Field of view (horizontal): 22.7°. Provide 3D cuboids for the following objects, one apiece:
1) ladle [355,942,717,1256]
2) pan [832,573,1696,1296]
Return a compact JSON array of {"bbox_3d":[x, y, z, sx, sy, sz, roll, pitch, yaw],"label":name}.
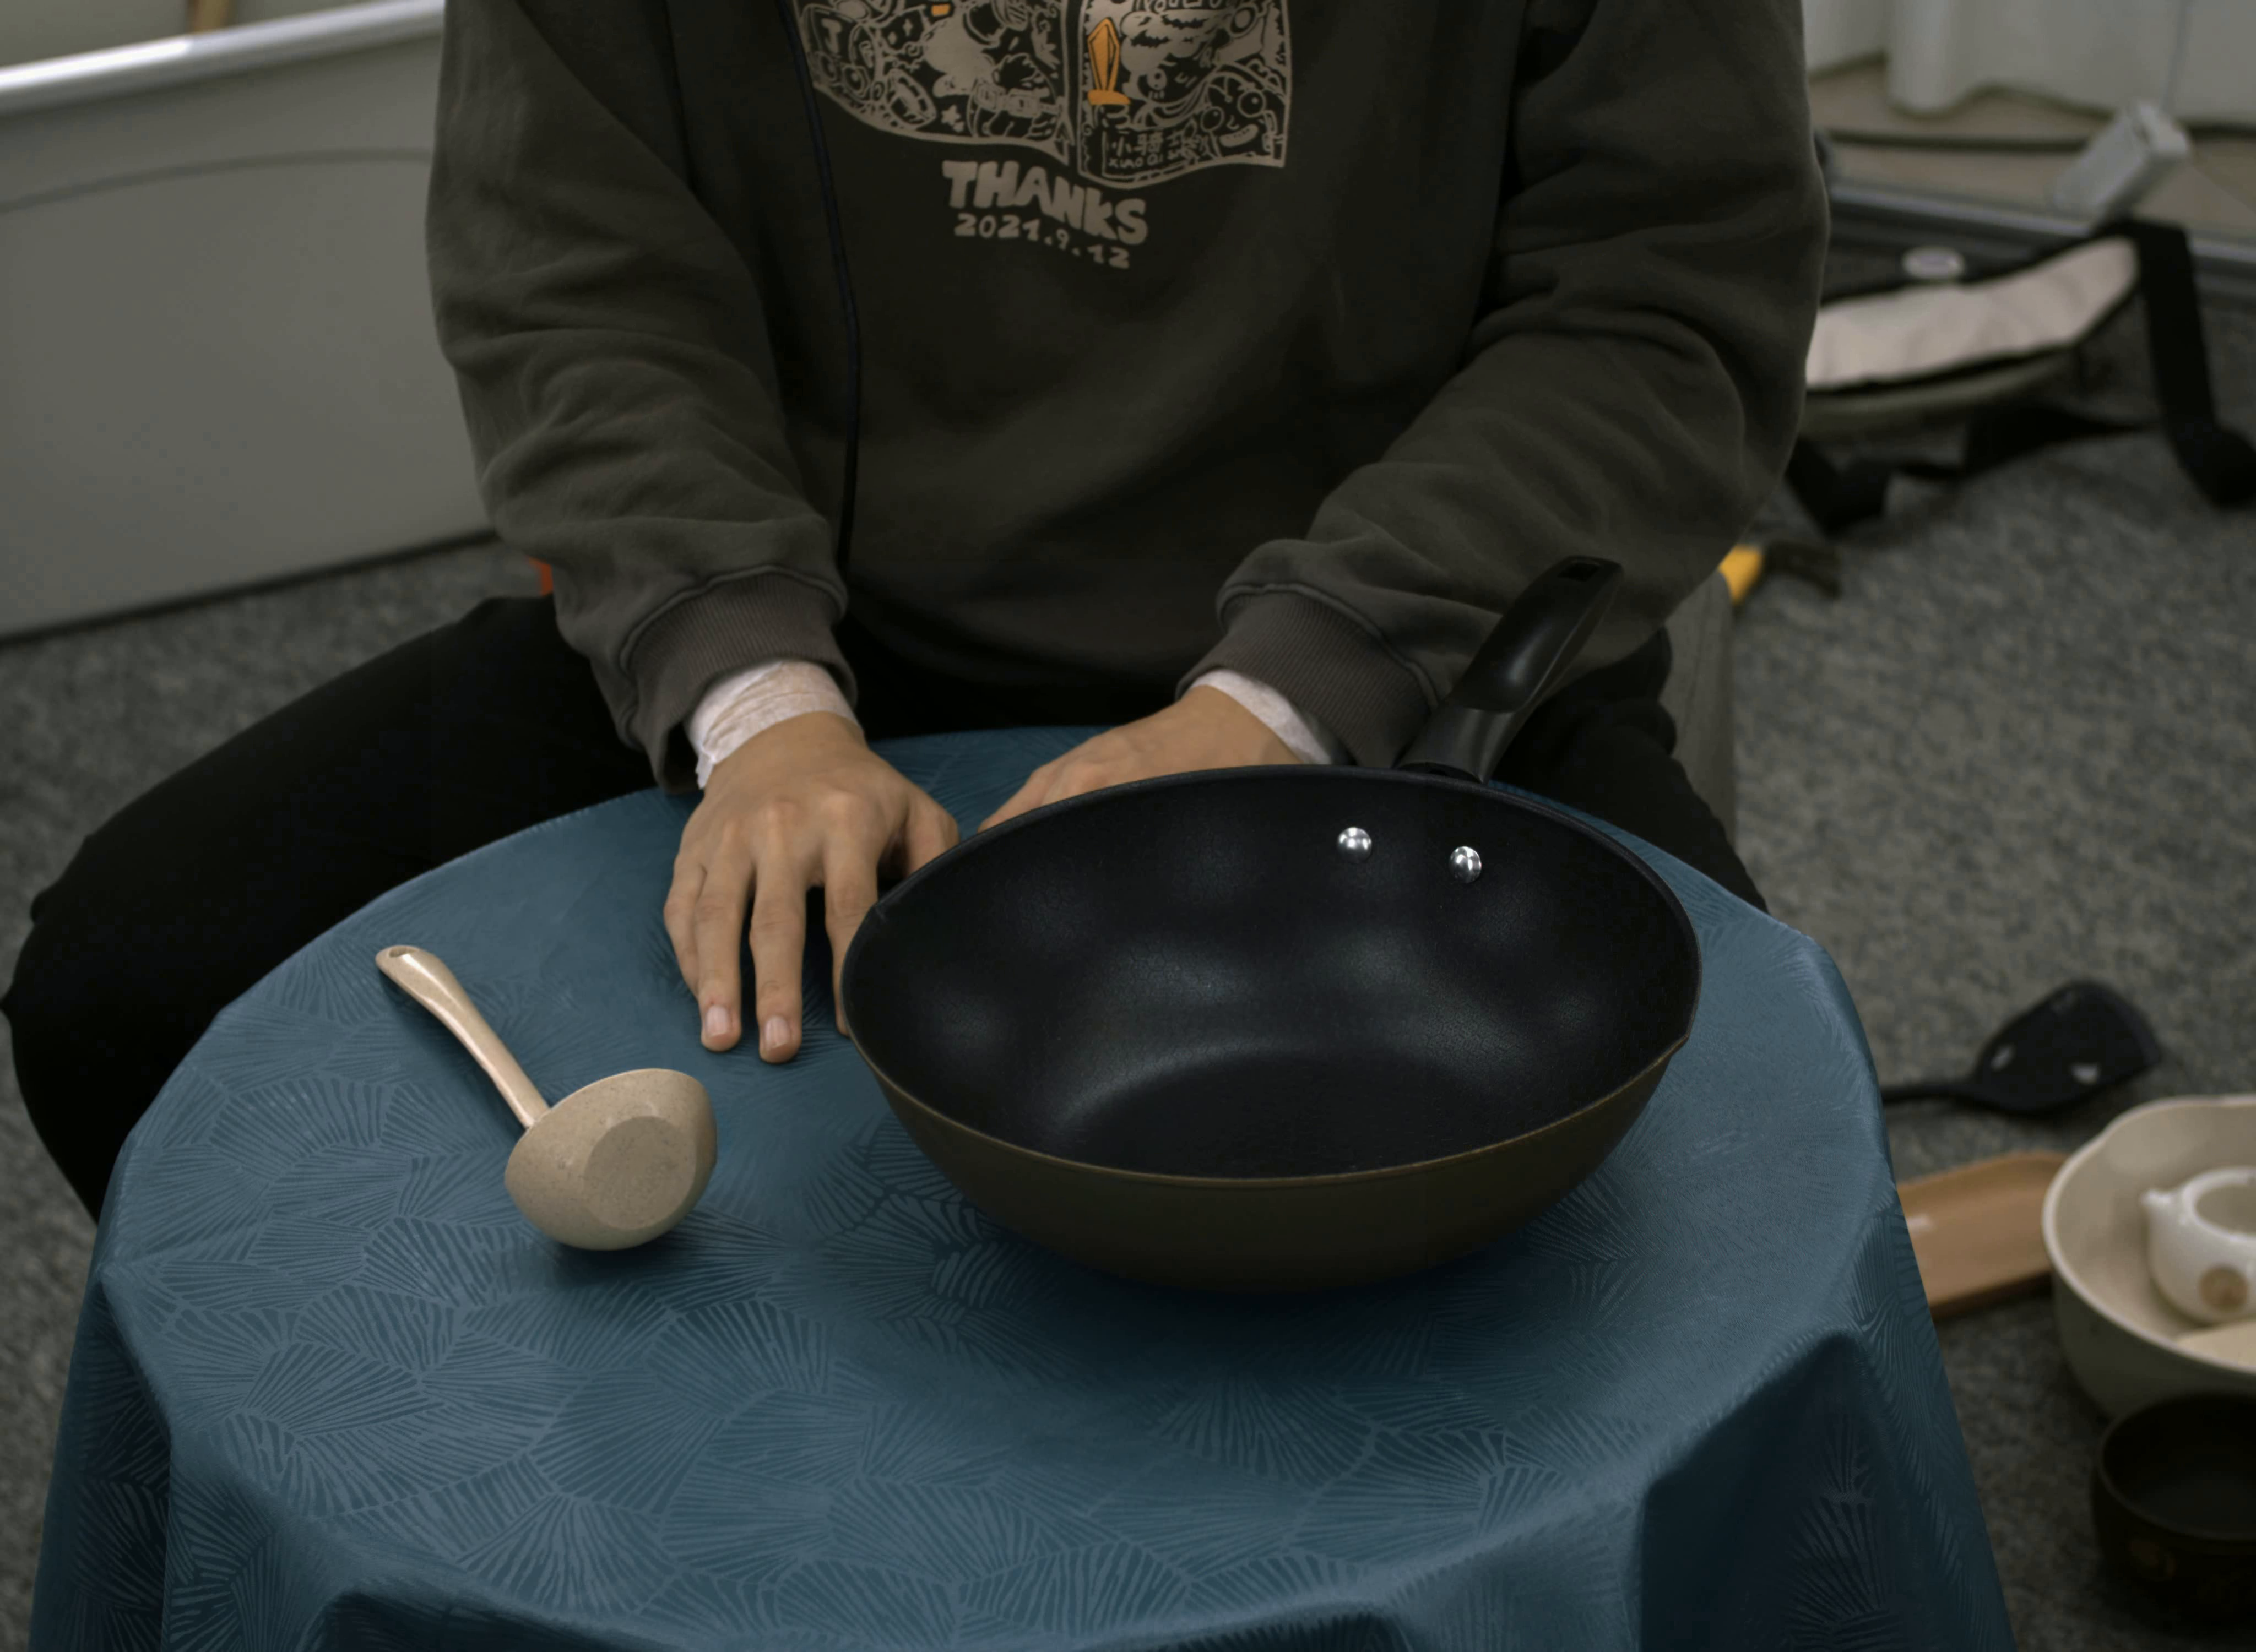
[{"bbox_3d":[-0.216,0.066,1.910,0.072,0.072,0.256,-18,32,-23],"label":"ladle"},{"bbox_3d":[0.082,0.038,1.925,0.286,0.086,0.471,9,29,22],"label":"pan"}]
